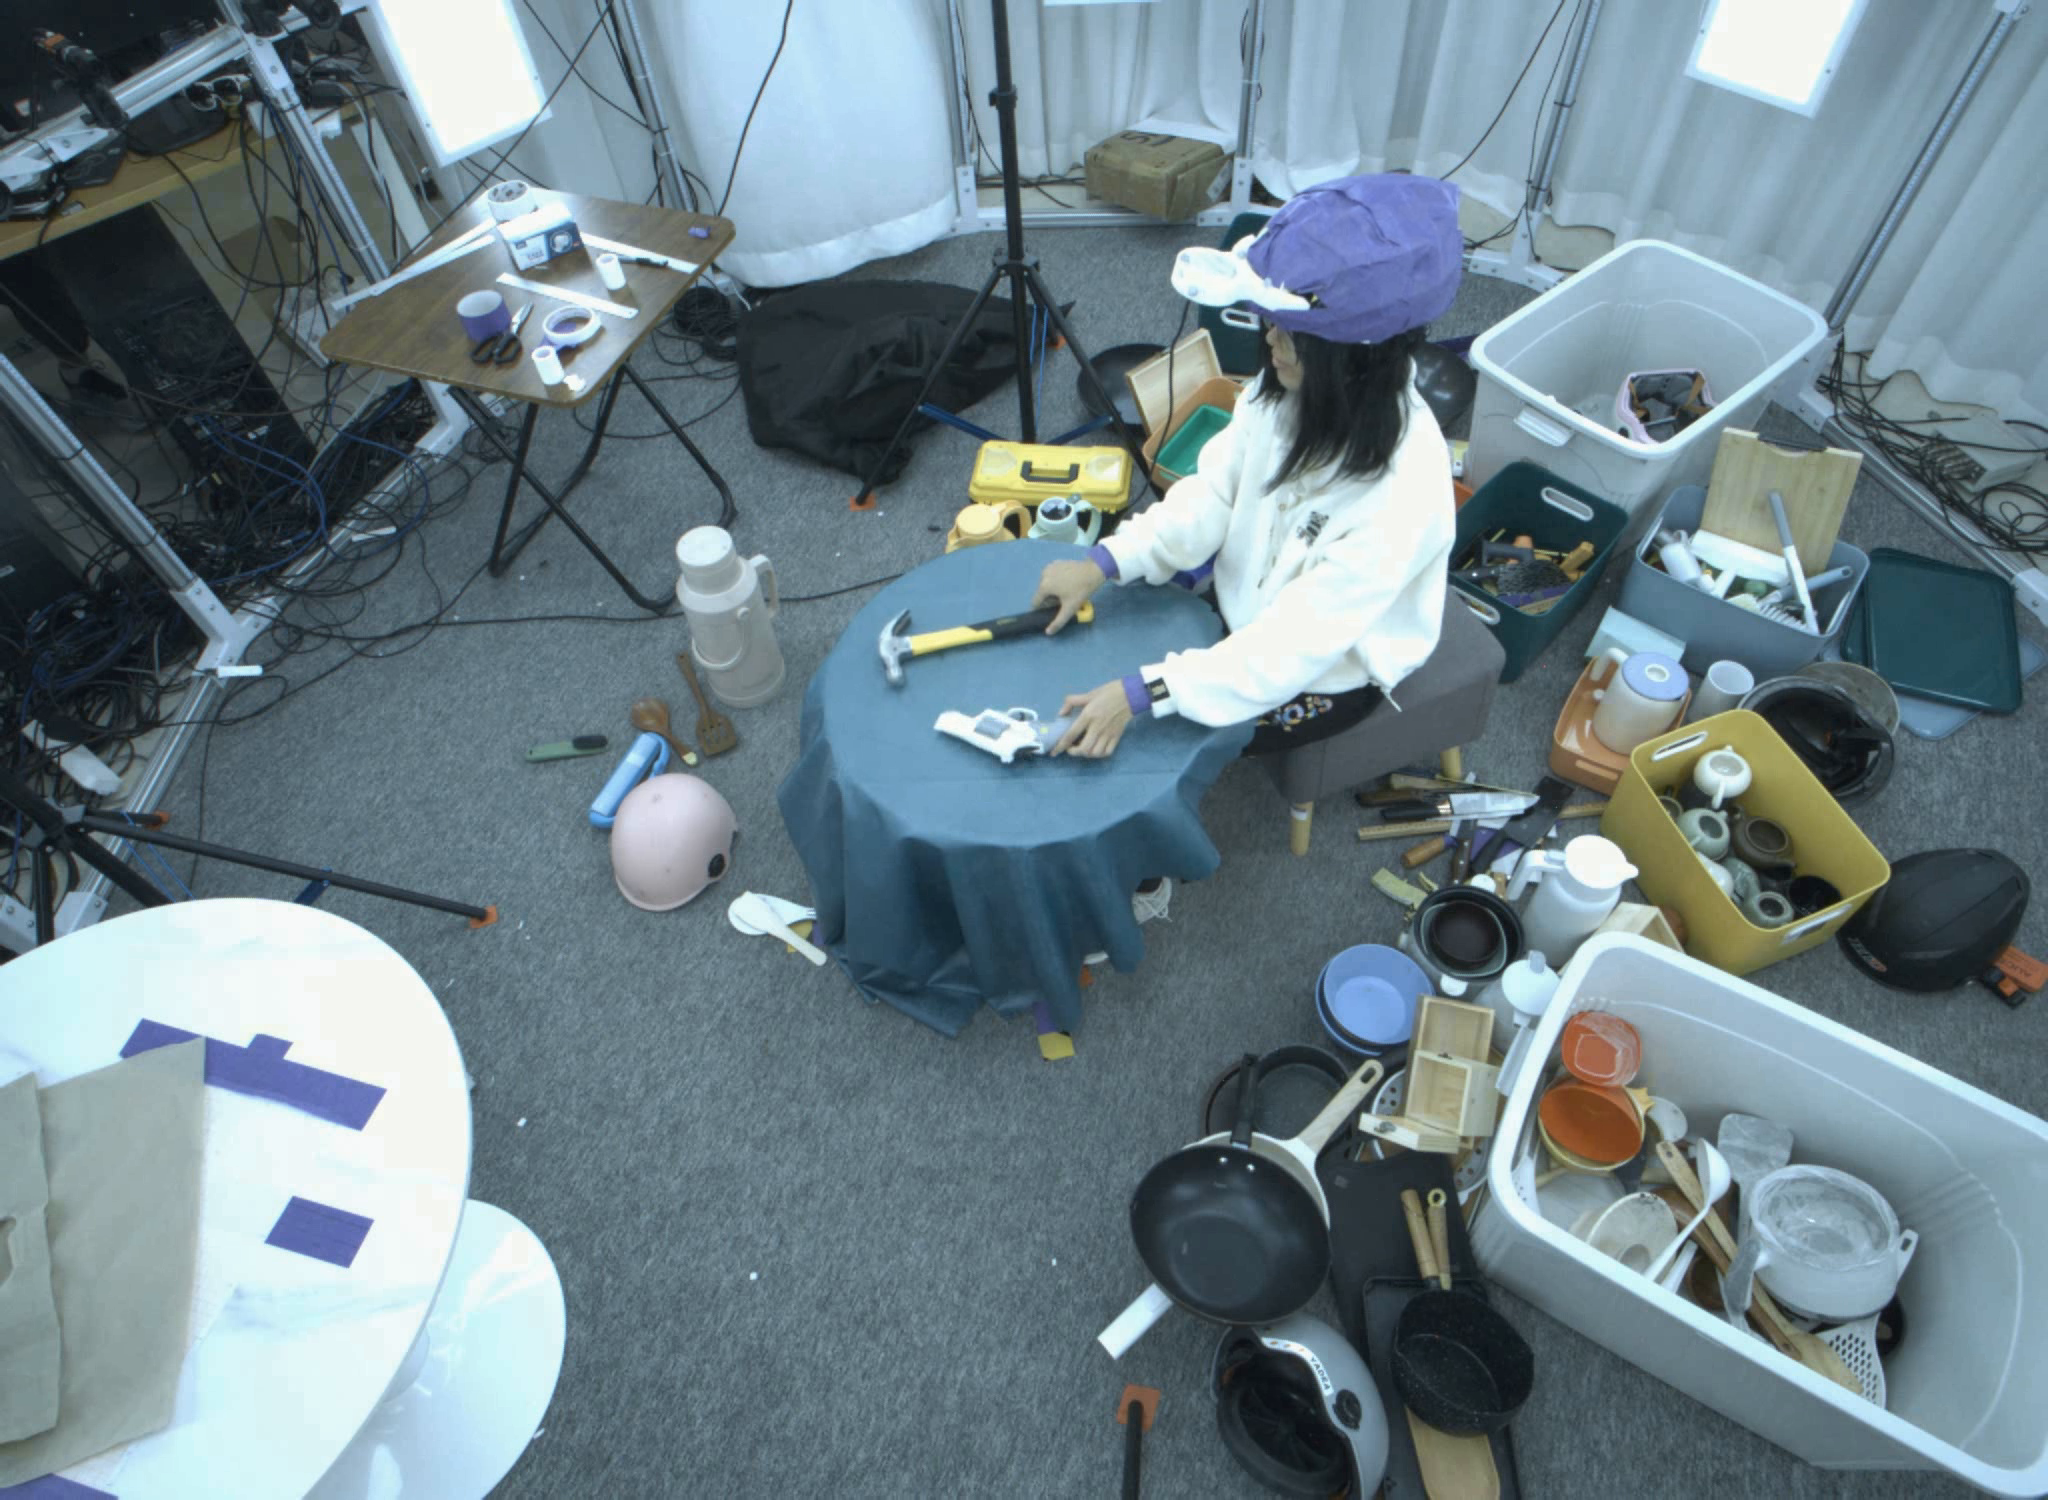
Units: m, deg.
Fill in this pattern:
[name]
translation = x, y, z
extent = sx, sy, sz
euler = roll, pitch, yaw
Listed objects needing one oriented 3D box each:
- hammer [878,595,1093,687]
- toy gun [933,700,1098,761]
[hammer]
translation = -0.059, -0.189, 1.900
extent = 0.340, 0.032, 0.129
euler = -13, 53, -6
[toy gun]
translation = -0.011, -0.041, 1.794
extent = 0.205, 0.039, 0.142
euler = 20, 49, 25
